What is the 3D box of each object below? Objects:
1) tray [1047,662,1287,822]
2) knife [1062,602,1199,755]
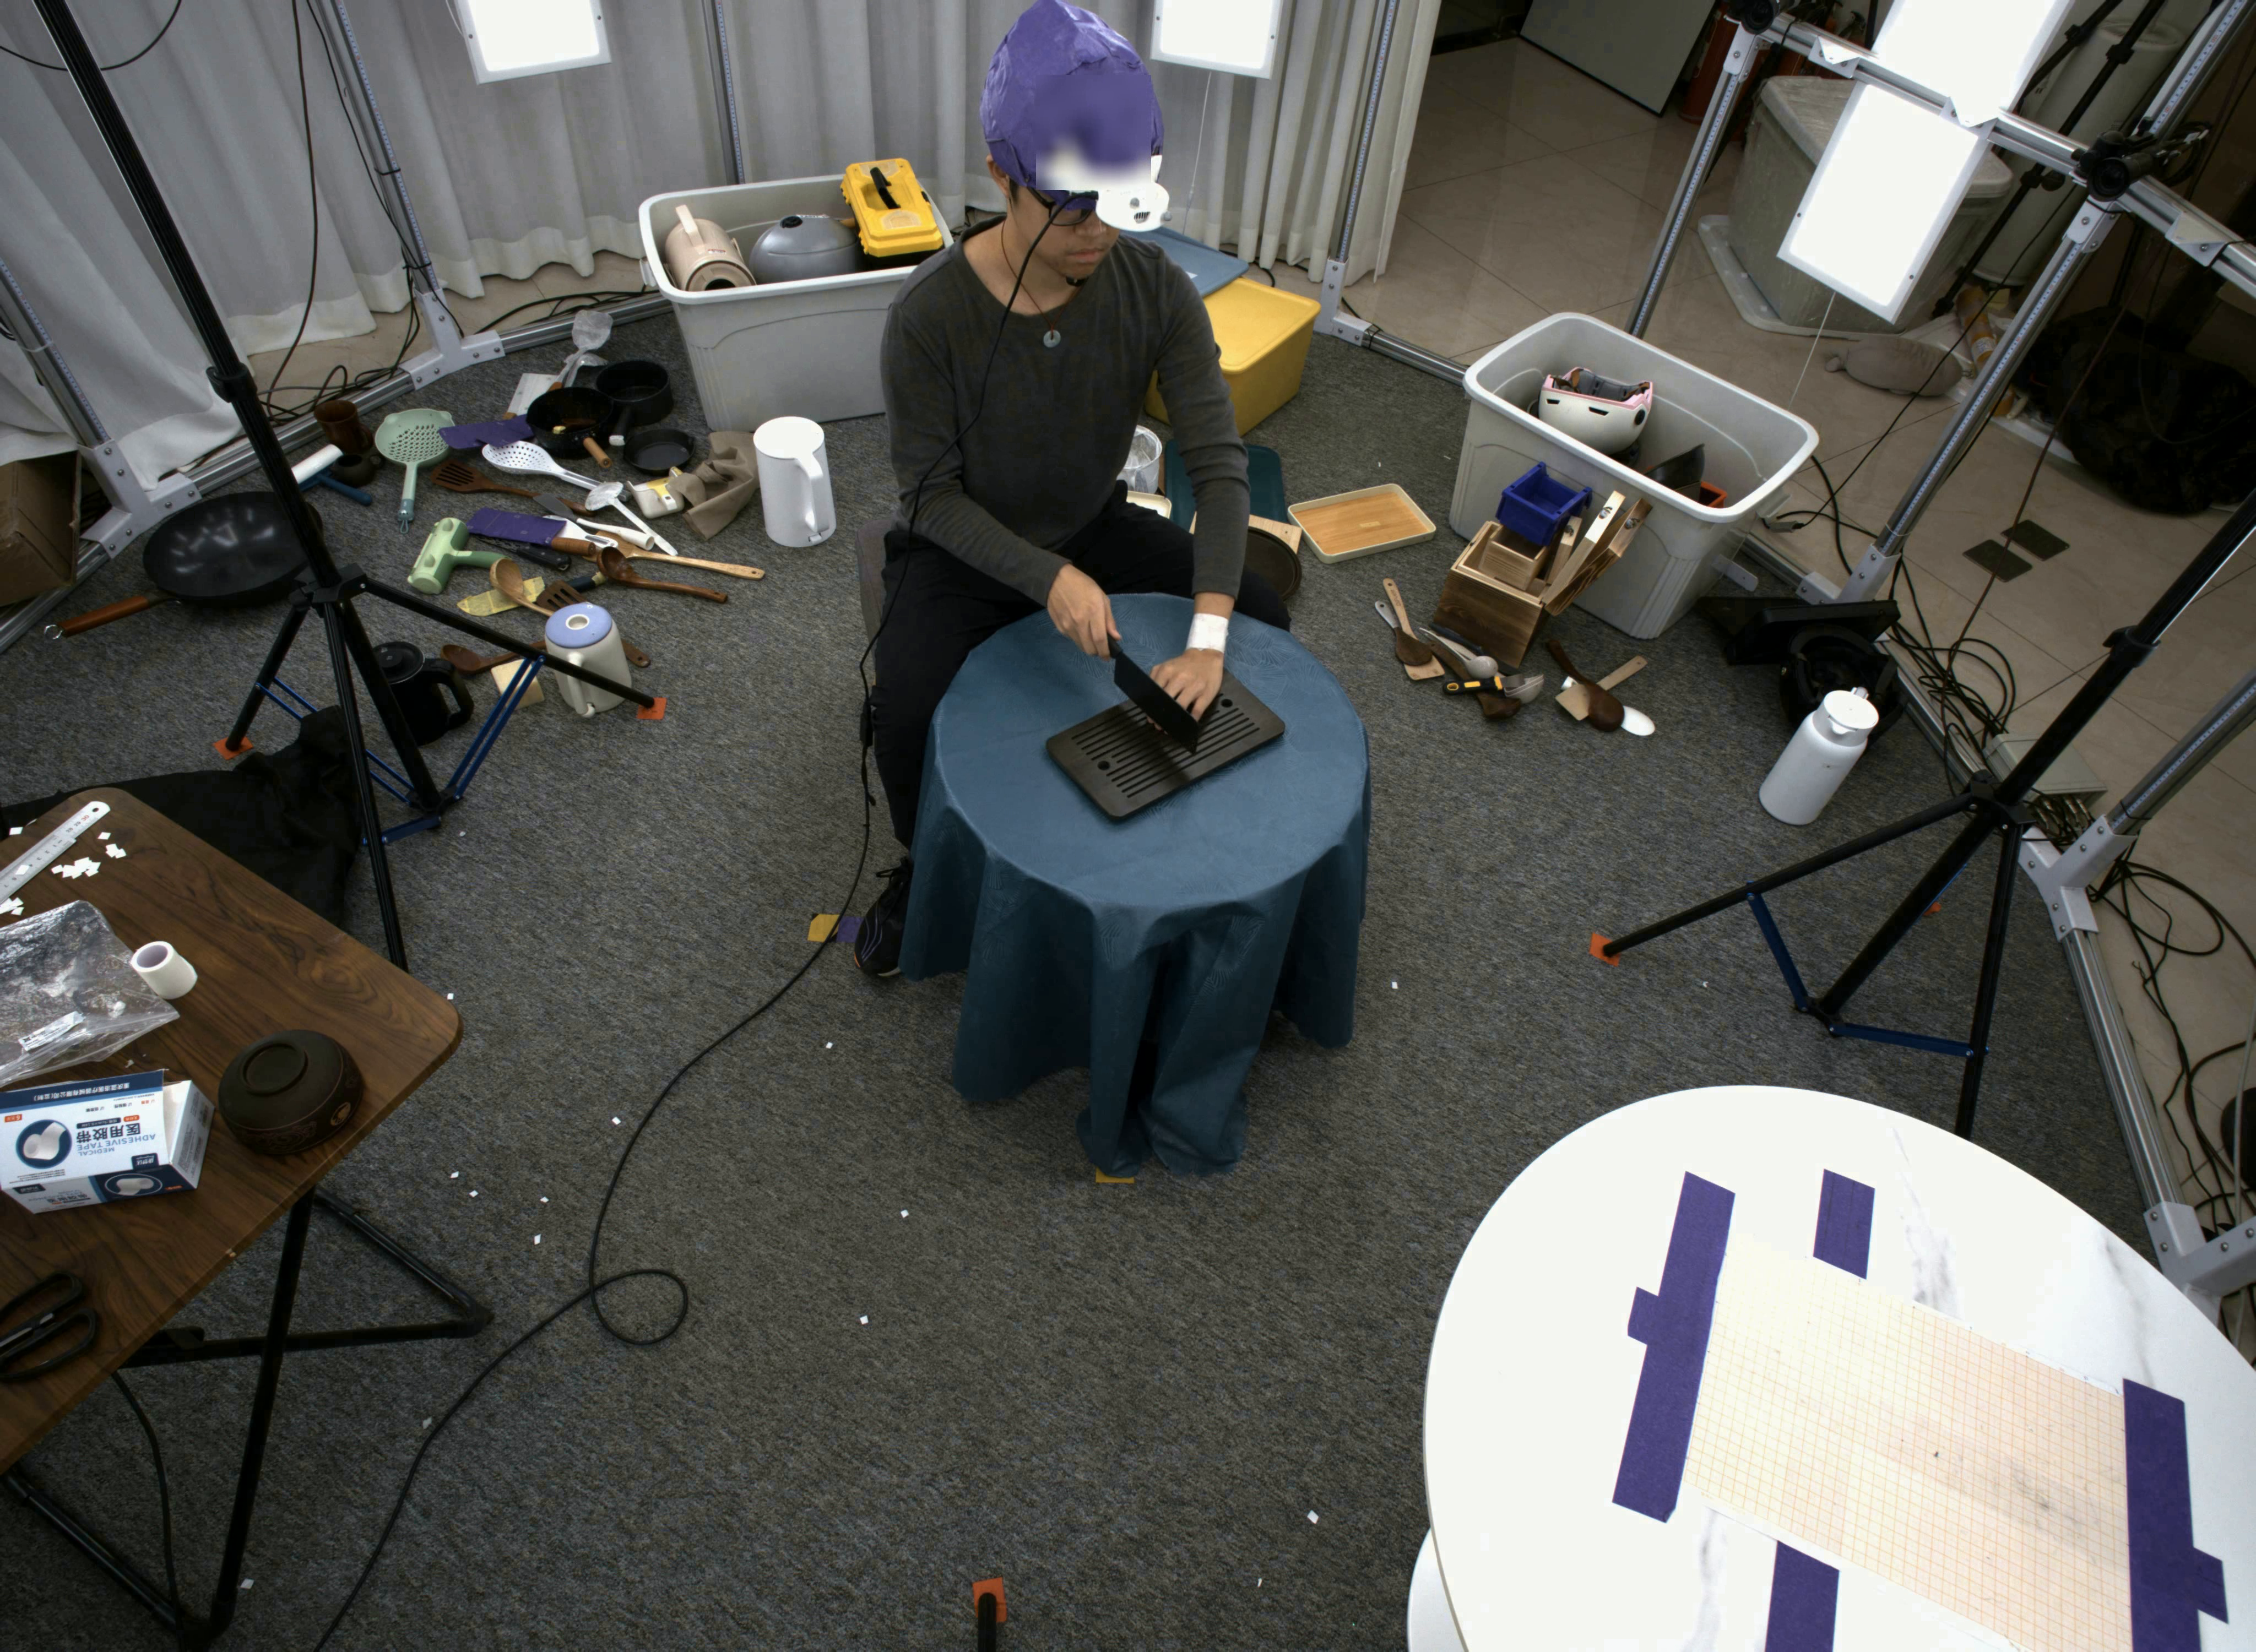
[{"bbox_3d":[0.055,-0.119,1.762,0.307,0.018,0.173,-28,55,-25],"label":"tray"},{"bbox_3d":[0.002,-0.208,1.754,0.021,0.079,0.308,-26,58,-26],"label":"knife"}]
